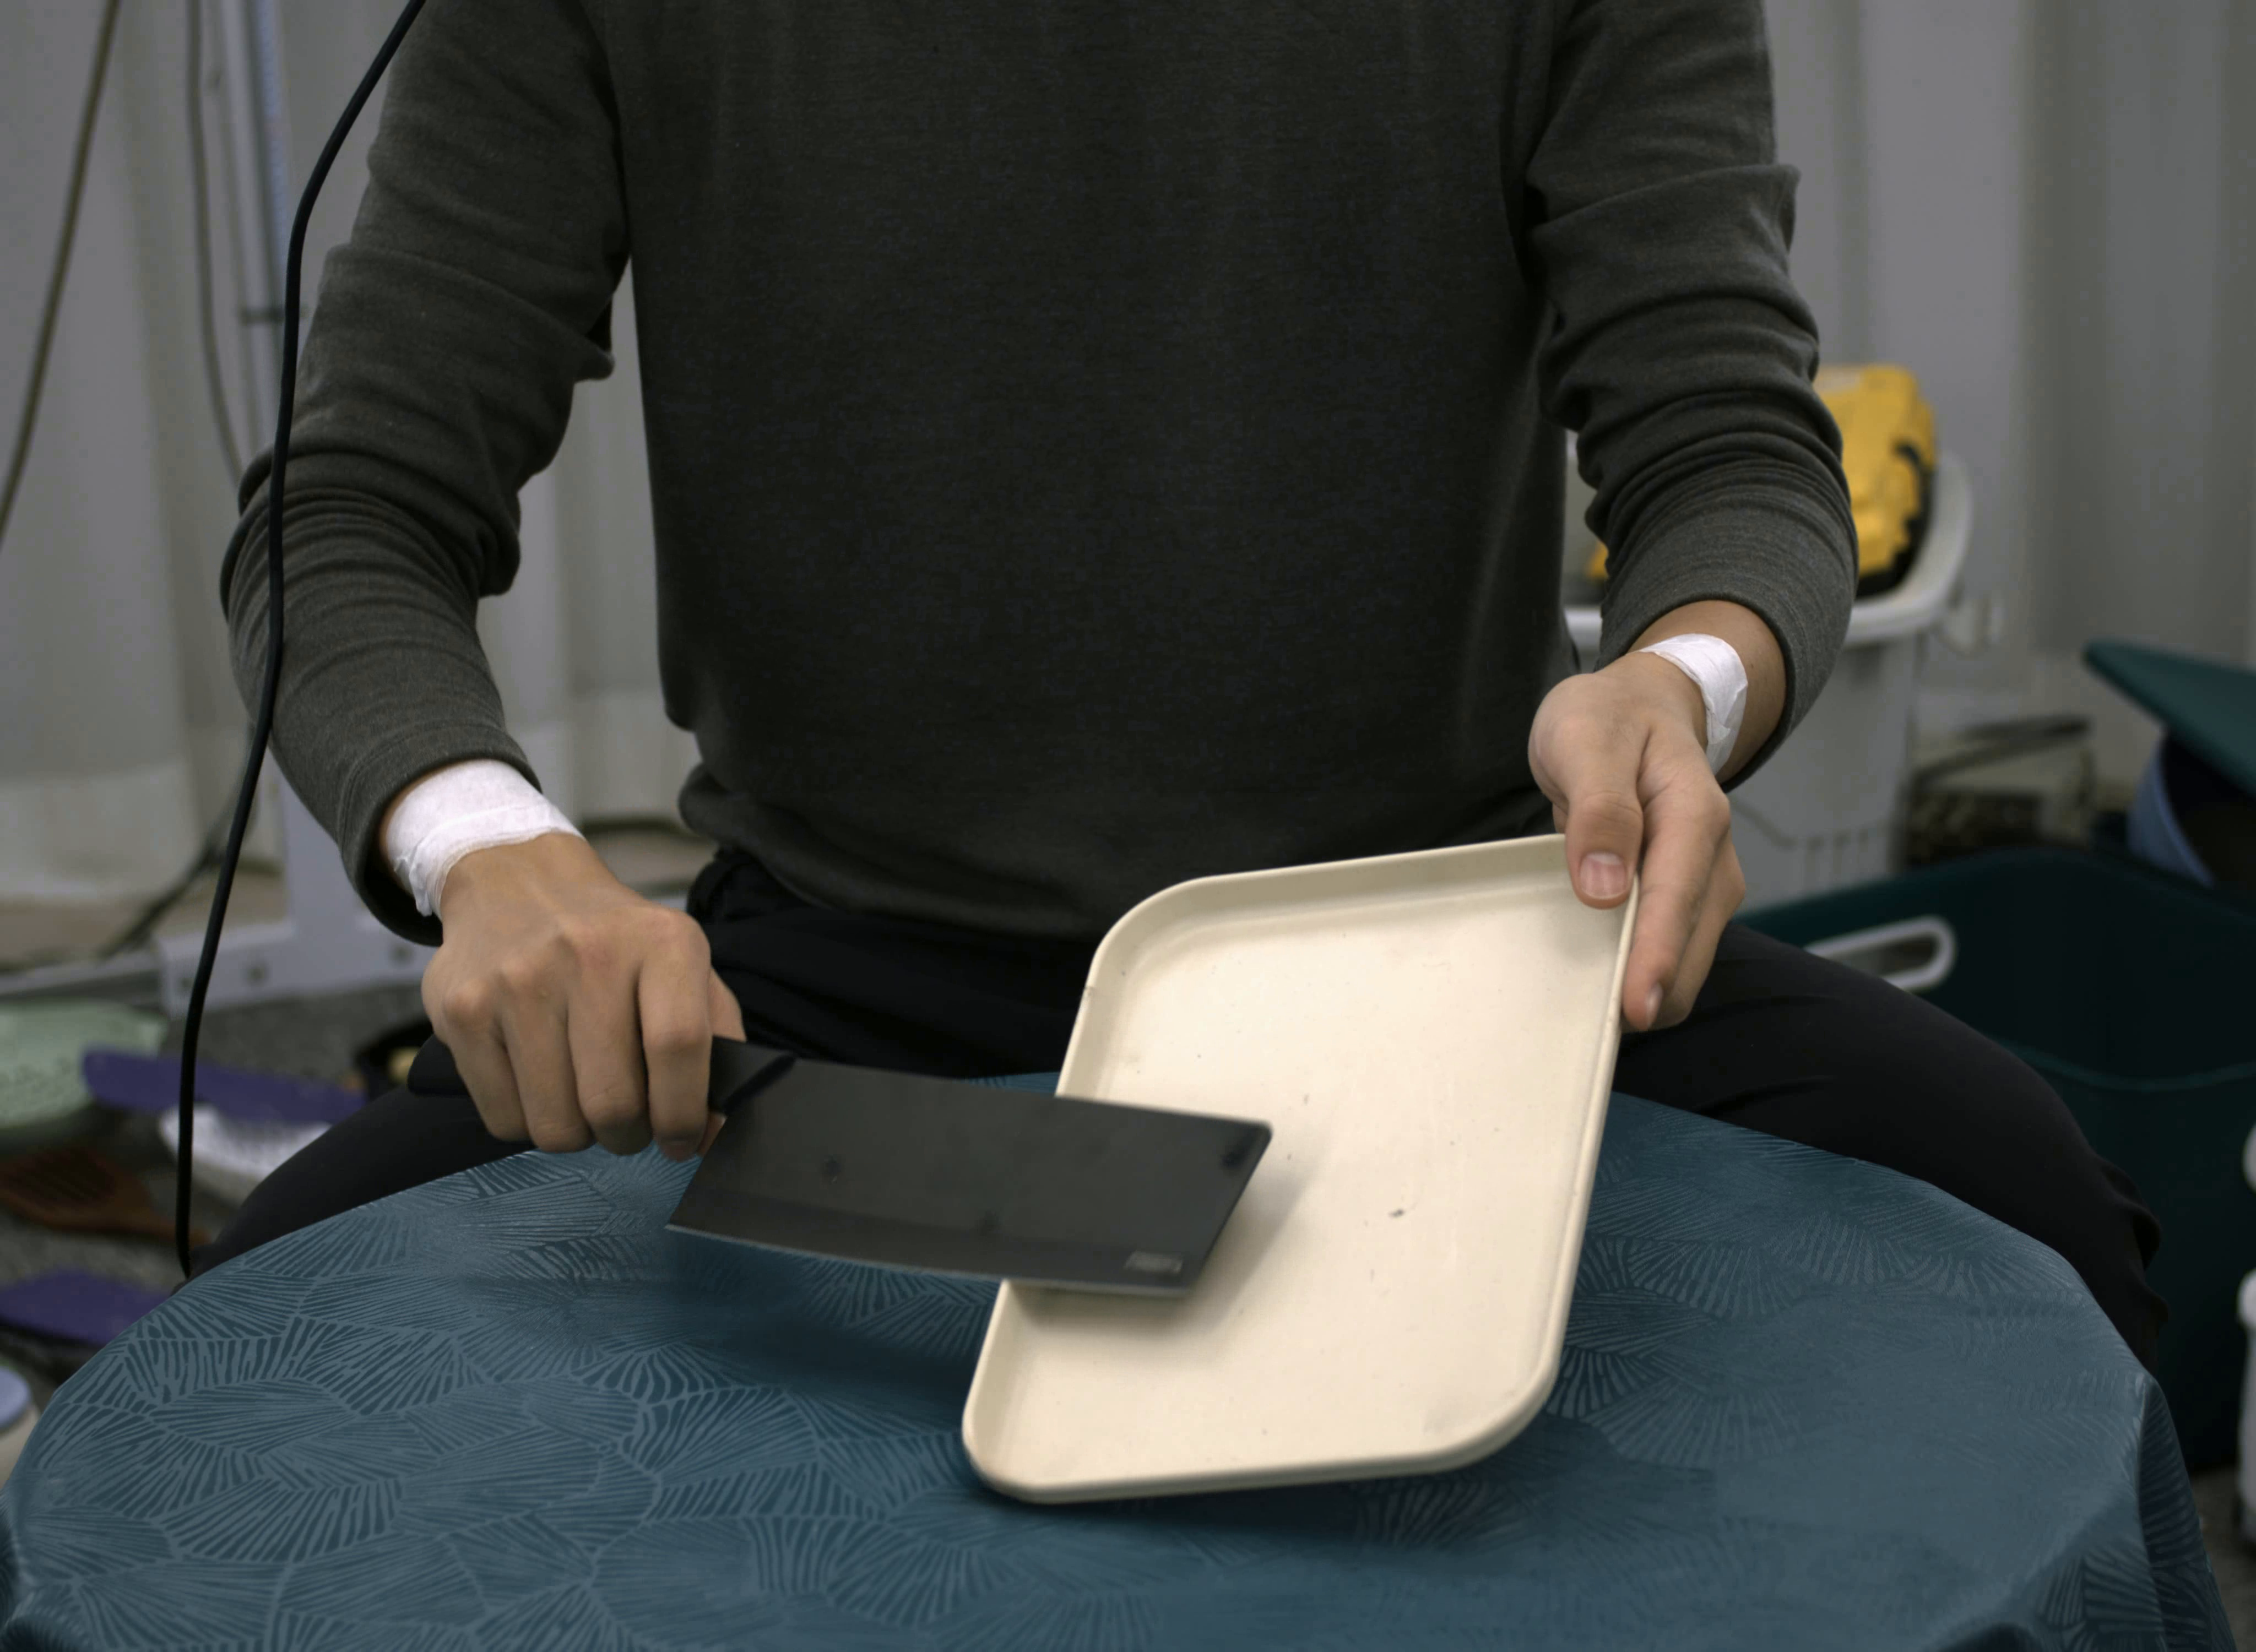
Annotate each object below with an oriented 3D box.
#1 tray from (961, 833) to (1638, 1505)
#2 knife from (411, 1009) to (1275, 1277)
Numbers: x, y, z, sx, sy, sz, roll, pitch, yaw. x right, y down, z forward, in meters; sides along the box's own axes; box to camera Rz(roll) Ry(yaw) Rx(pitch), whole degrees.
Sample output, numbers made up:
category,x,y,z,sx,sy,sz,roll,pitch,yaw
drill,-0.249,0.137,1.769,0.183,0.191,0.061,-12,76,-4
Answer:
category,x,y,z,sx,sy,sz,roll,pitch,yaw
tray,0.052,0.095,1.524,0.171,0.017,0.243,-8,39,21
knife,-0.092,0.090,1.593,0.303,0.020,0.081,9,52,36
